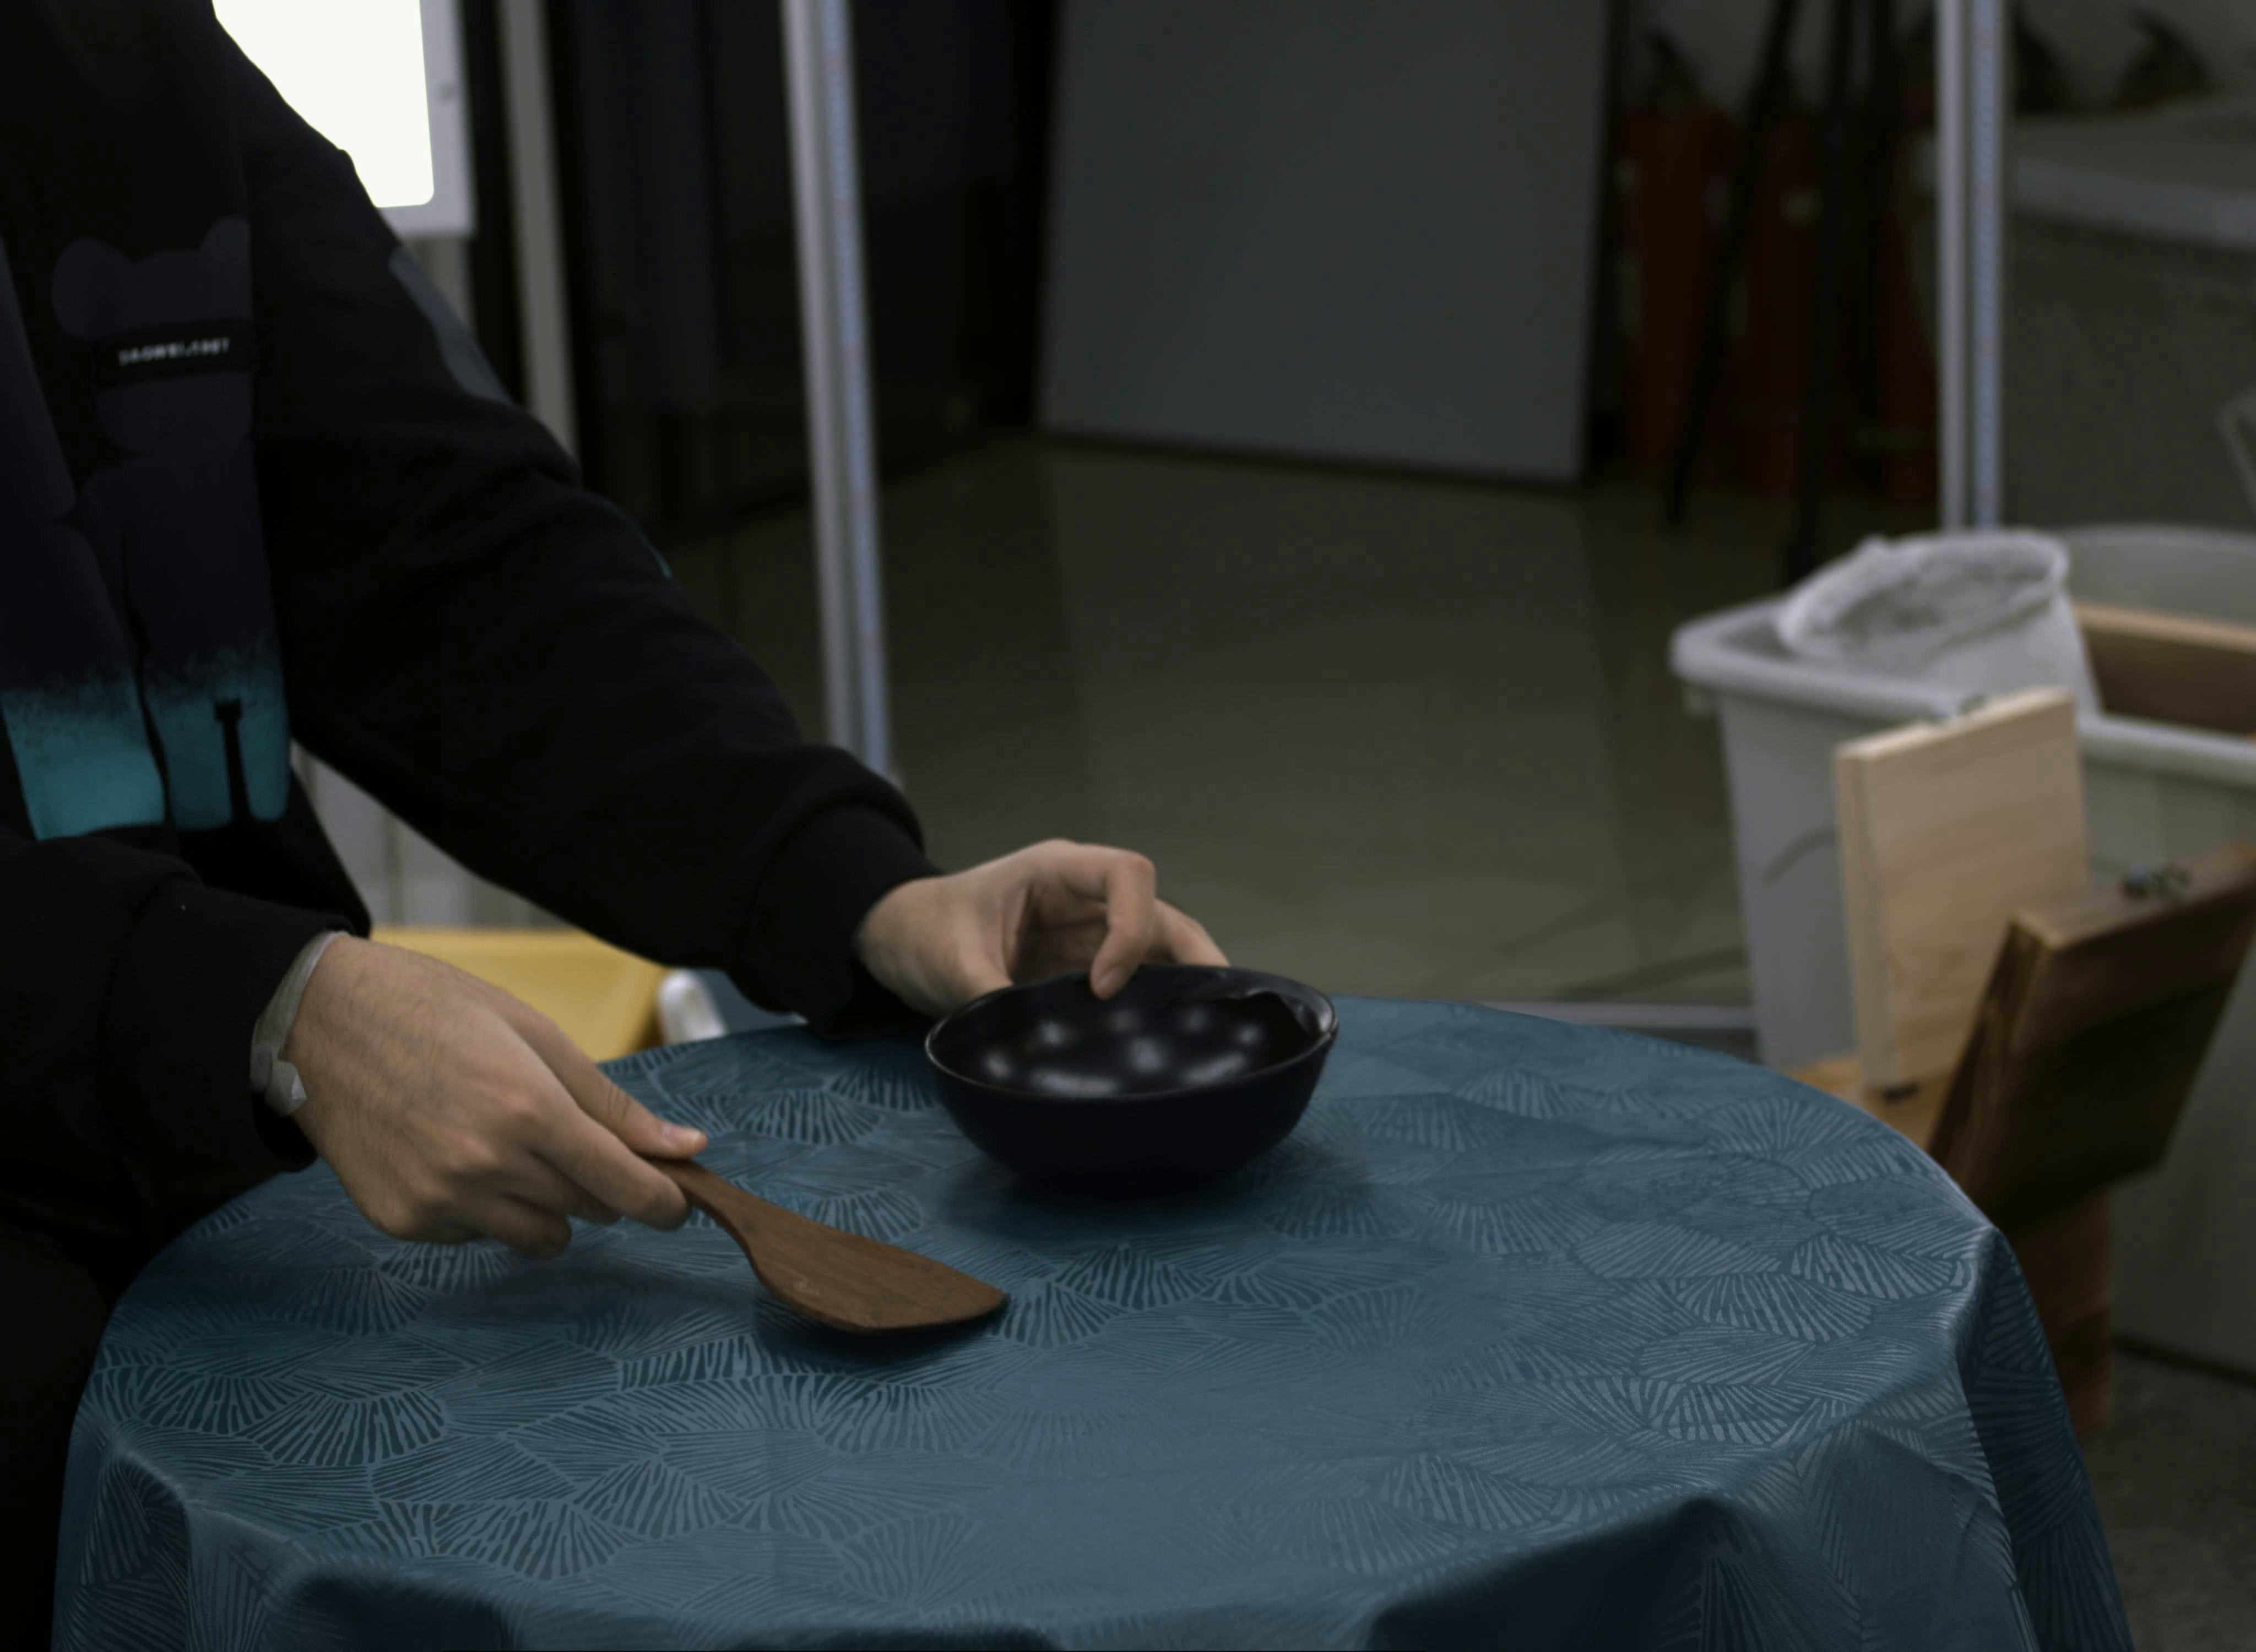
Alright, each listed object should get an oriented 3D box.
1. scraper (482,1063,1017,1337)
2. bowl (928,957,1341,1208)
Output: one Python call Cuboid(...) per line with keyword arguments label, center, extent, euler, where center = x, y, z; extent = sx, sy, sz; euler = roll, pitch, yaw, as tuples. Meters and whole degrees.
Cuboid(label="scraper", center=(-0.127, 0.117, 1.702), extent=(0.213, 0.011, 0.074), euler=(26, 19, 37))
Cuboid(label="bowl", center=(0.004, 0.090, 1.789), extent=(0.138, 0.050, 0.140), euler=(-7, 18, 1))
